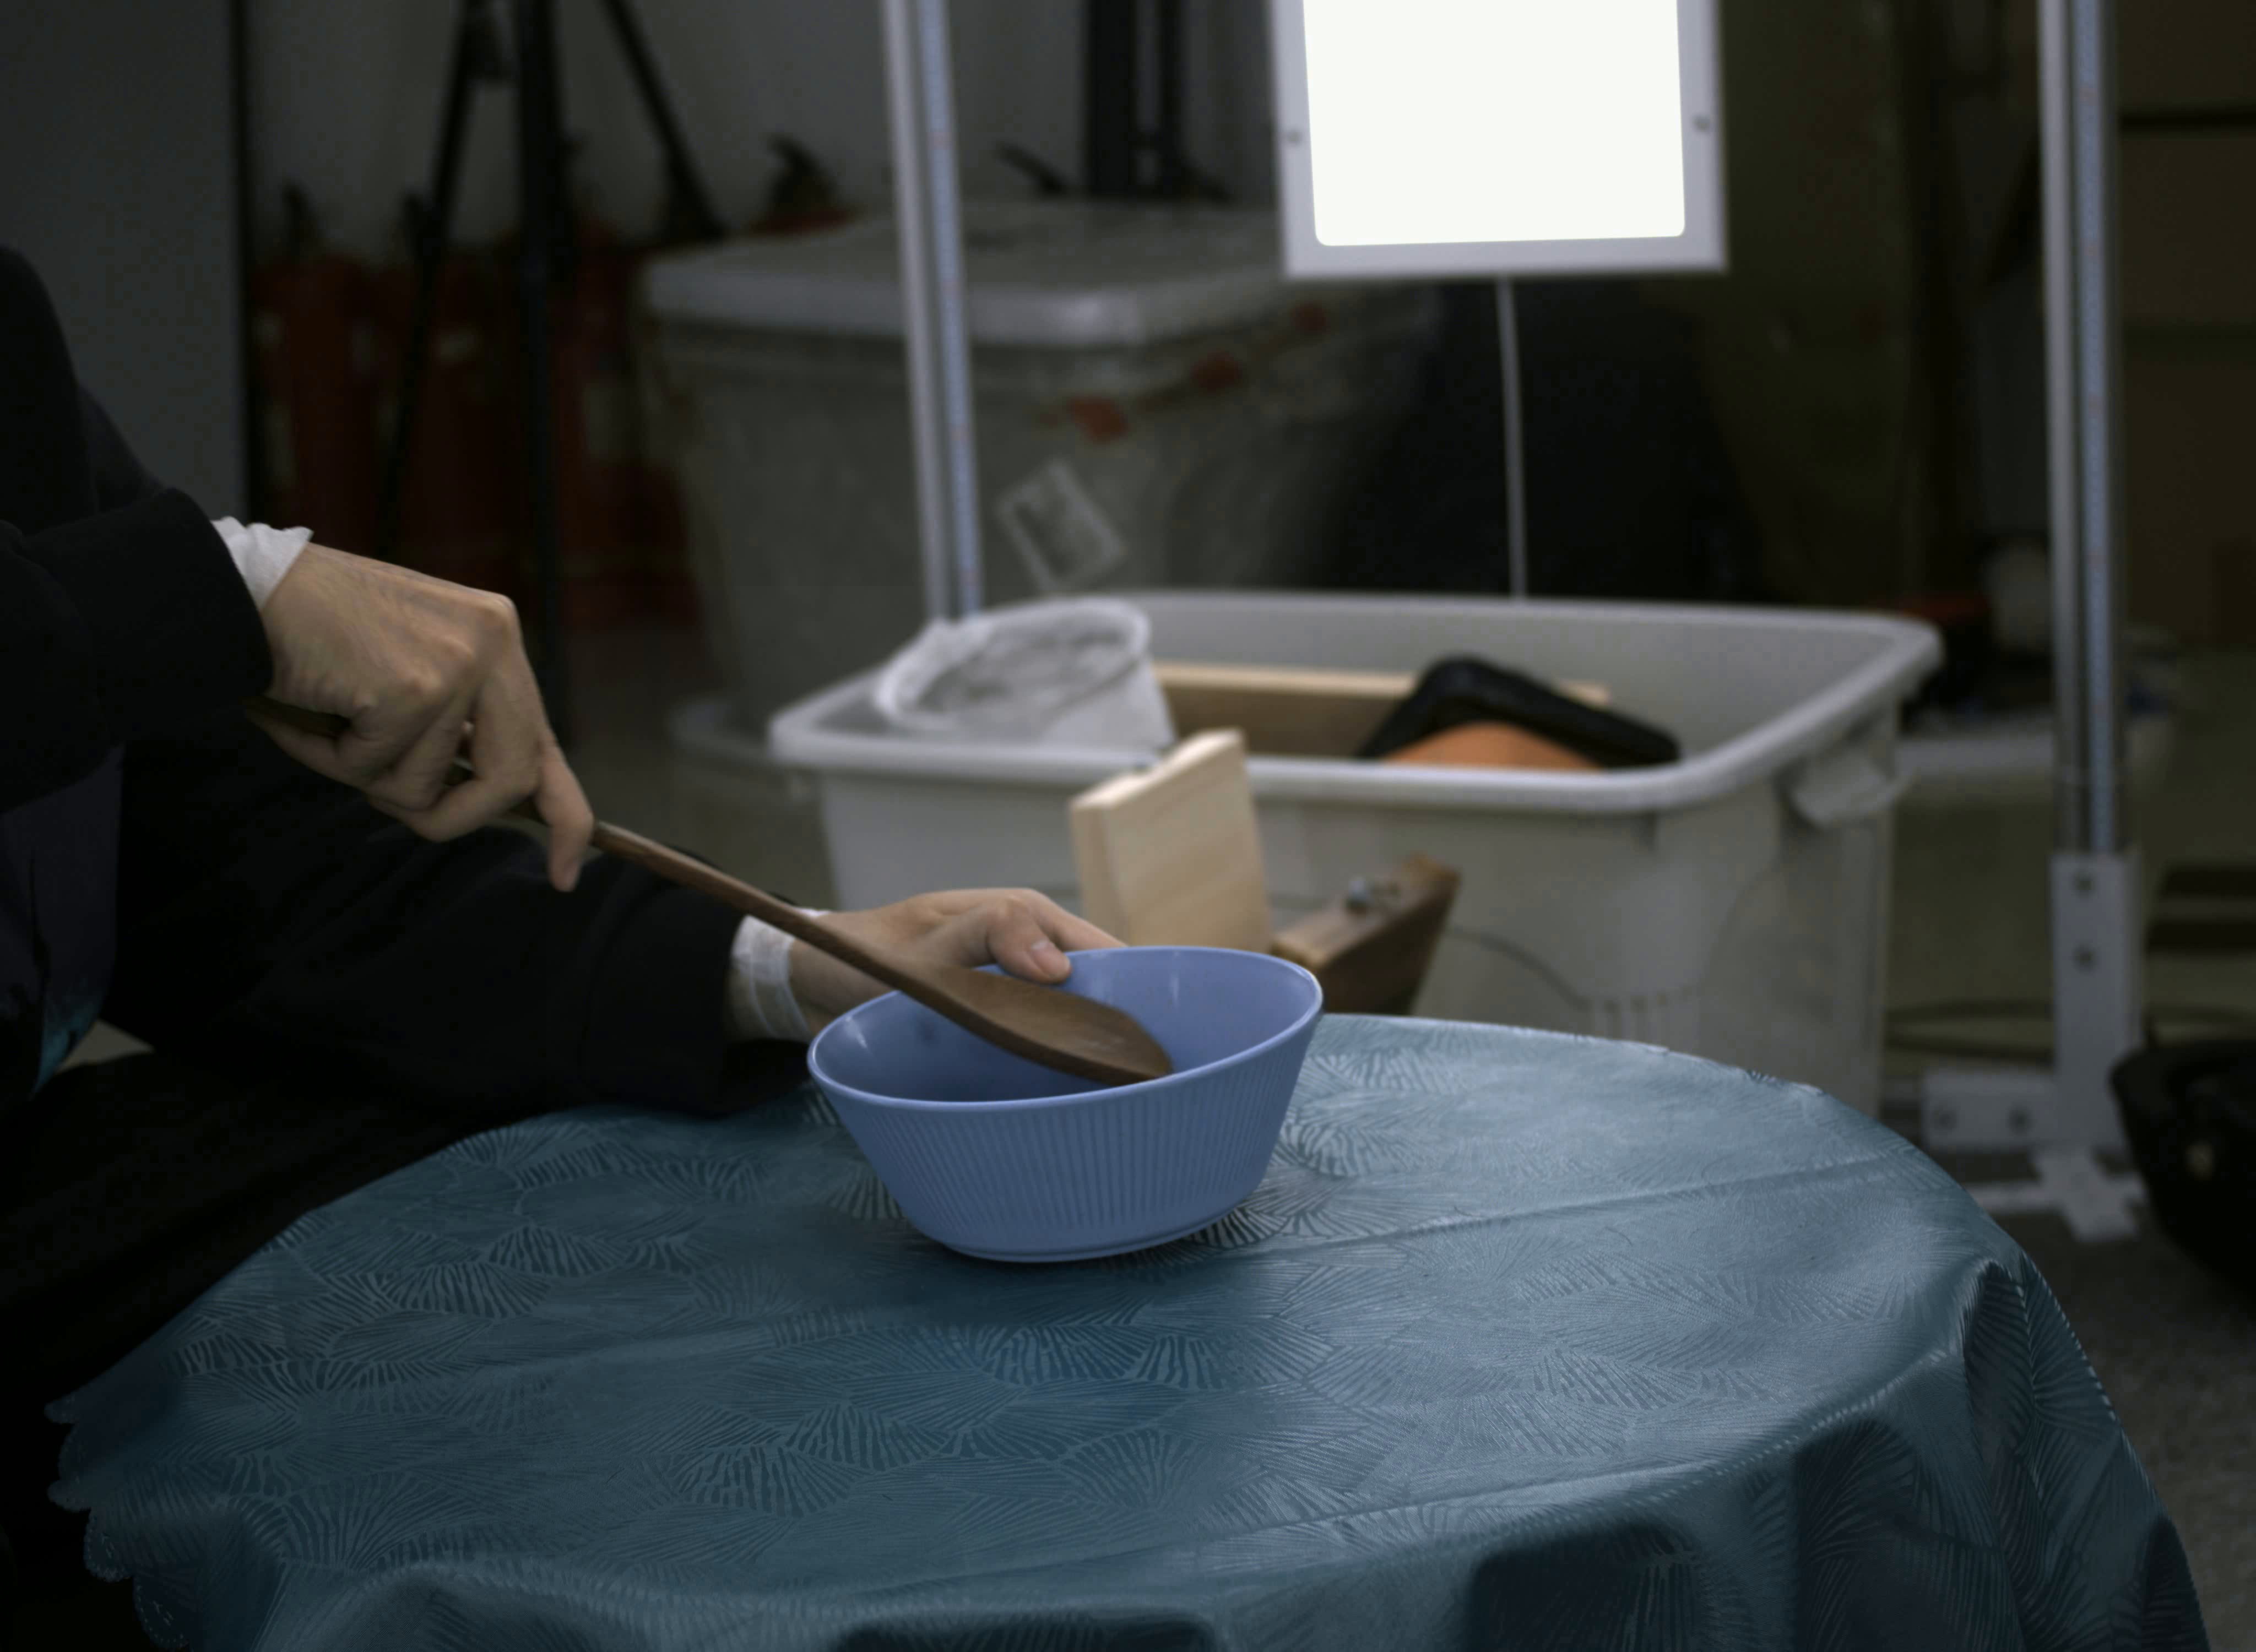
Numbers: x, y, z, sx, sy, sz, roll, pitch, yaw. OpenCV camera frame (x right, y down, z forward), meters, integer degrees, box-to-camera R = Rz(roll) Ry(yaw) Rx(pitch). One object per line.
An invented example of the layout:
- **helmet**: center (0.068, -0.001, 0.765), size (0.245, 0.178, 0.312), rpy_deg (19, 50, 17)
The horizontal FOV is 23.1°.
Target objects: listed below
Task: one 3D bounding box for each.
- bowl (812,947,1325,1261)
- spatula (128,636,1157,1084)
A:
- **bowl**: center (-0.016, 0.097, 1.858), size (0.176, 0.070, 0.176), rpy_deg (-9, 13, 1)
- **spatula**: center (-0.153, 0.013, 1.835), size (0.381, 0.016, 0.097), rpy_deg (24, 7, -17)
